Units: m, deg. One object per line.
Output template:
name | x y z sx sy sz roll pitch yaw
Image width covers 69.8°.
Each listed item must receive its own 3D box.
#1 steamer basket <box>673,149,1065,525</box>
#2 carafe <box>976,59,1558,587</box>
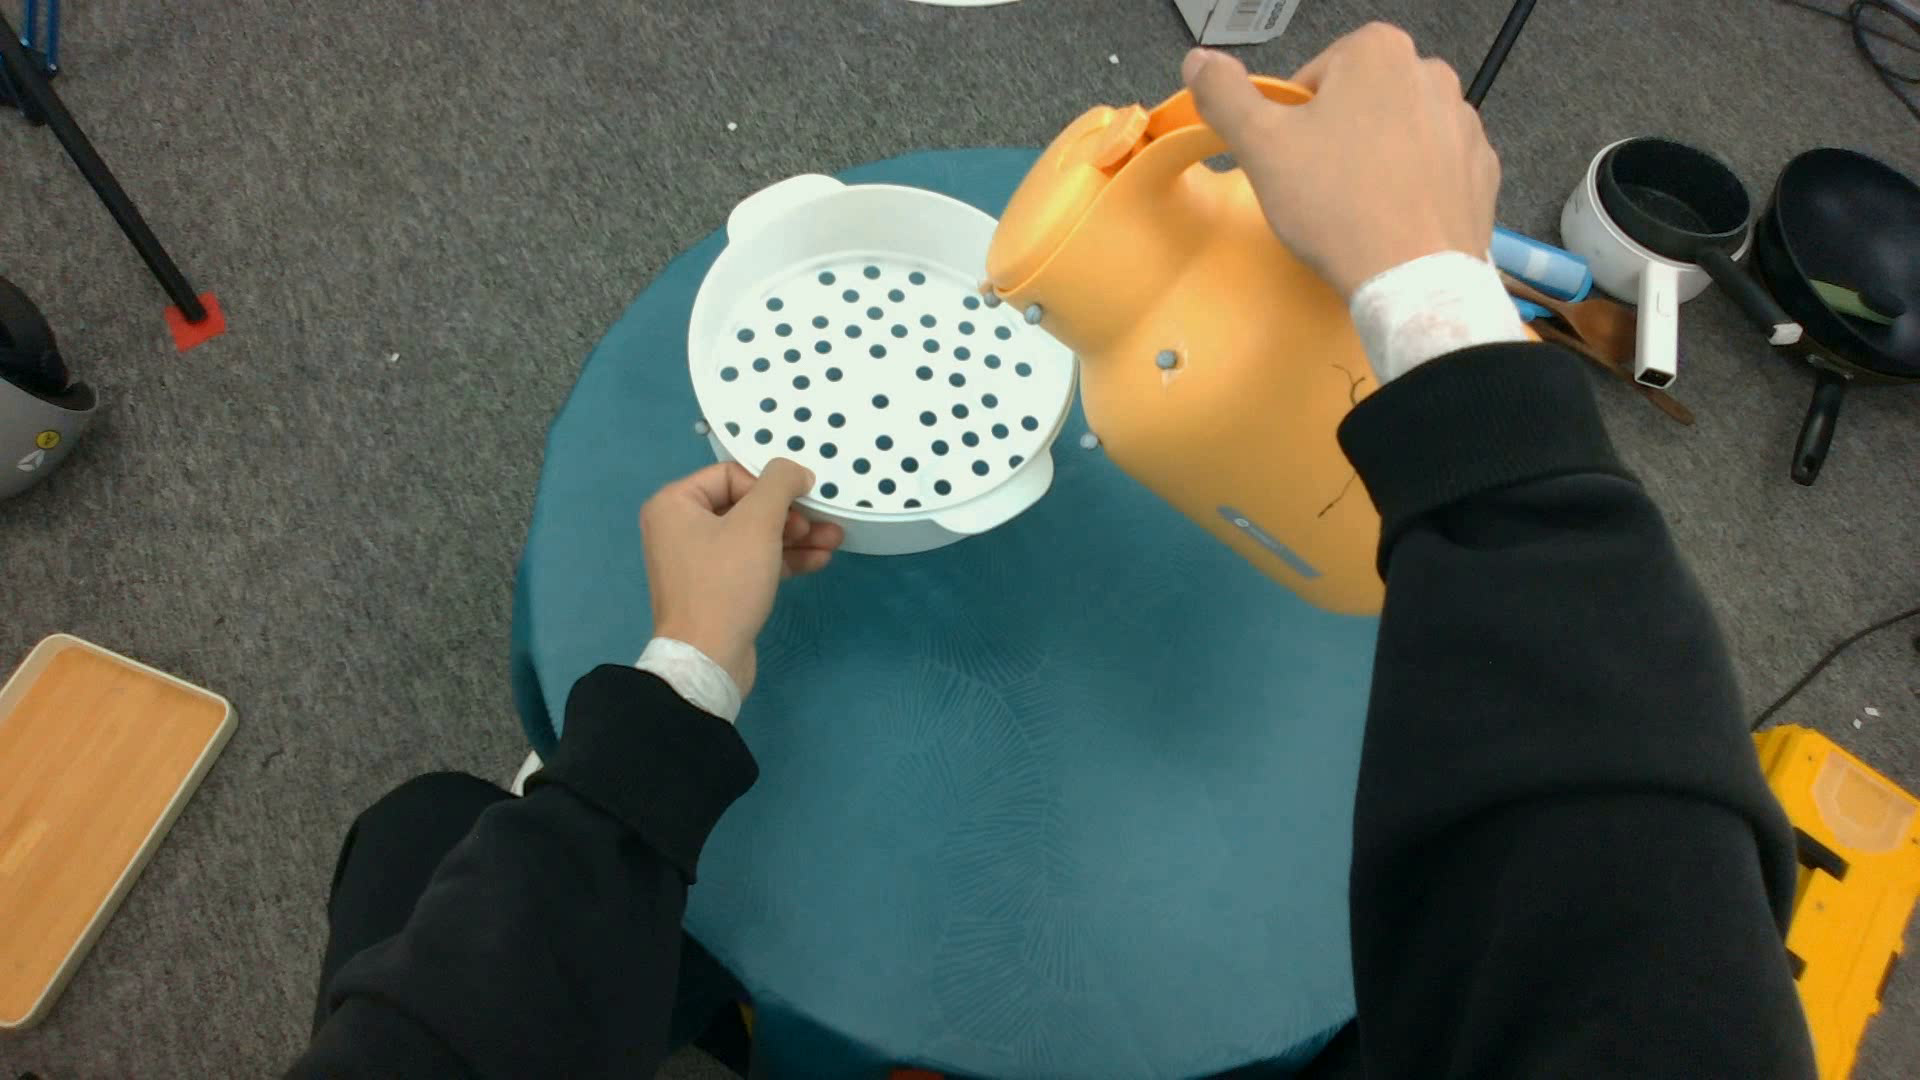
steamer basket | -0.048 -0.105 0.733 0.202 0.069 0.231 -32 72 -17
carafe | 0.142 -0.102 0.615 0.260 0.201 0.164 30 67 -19
